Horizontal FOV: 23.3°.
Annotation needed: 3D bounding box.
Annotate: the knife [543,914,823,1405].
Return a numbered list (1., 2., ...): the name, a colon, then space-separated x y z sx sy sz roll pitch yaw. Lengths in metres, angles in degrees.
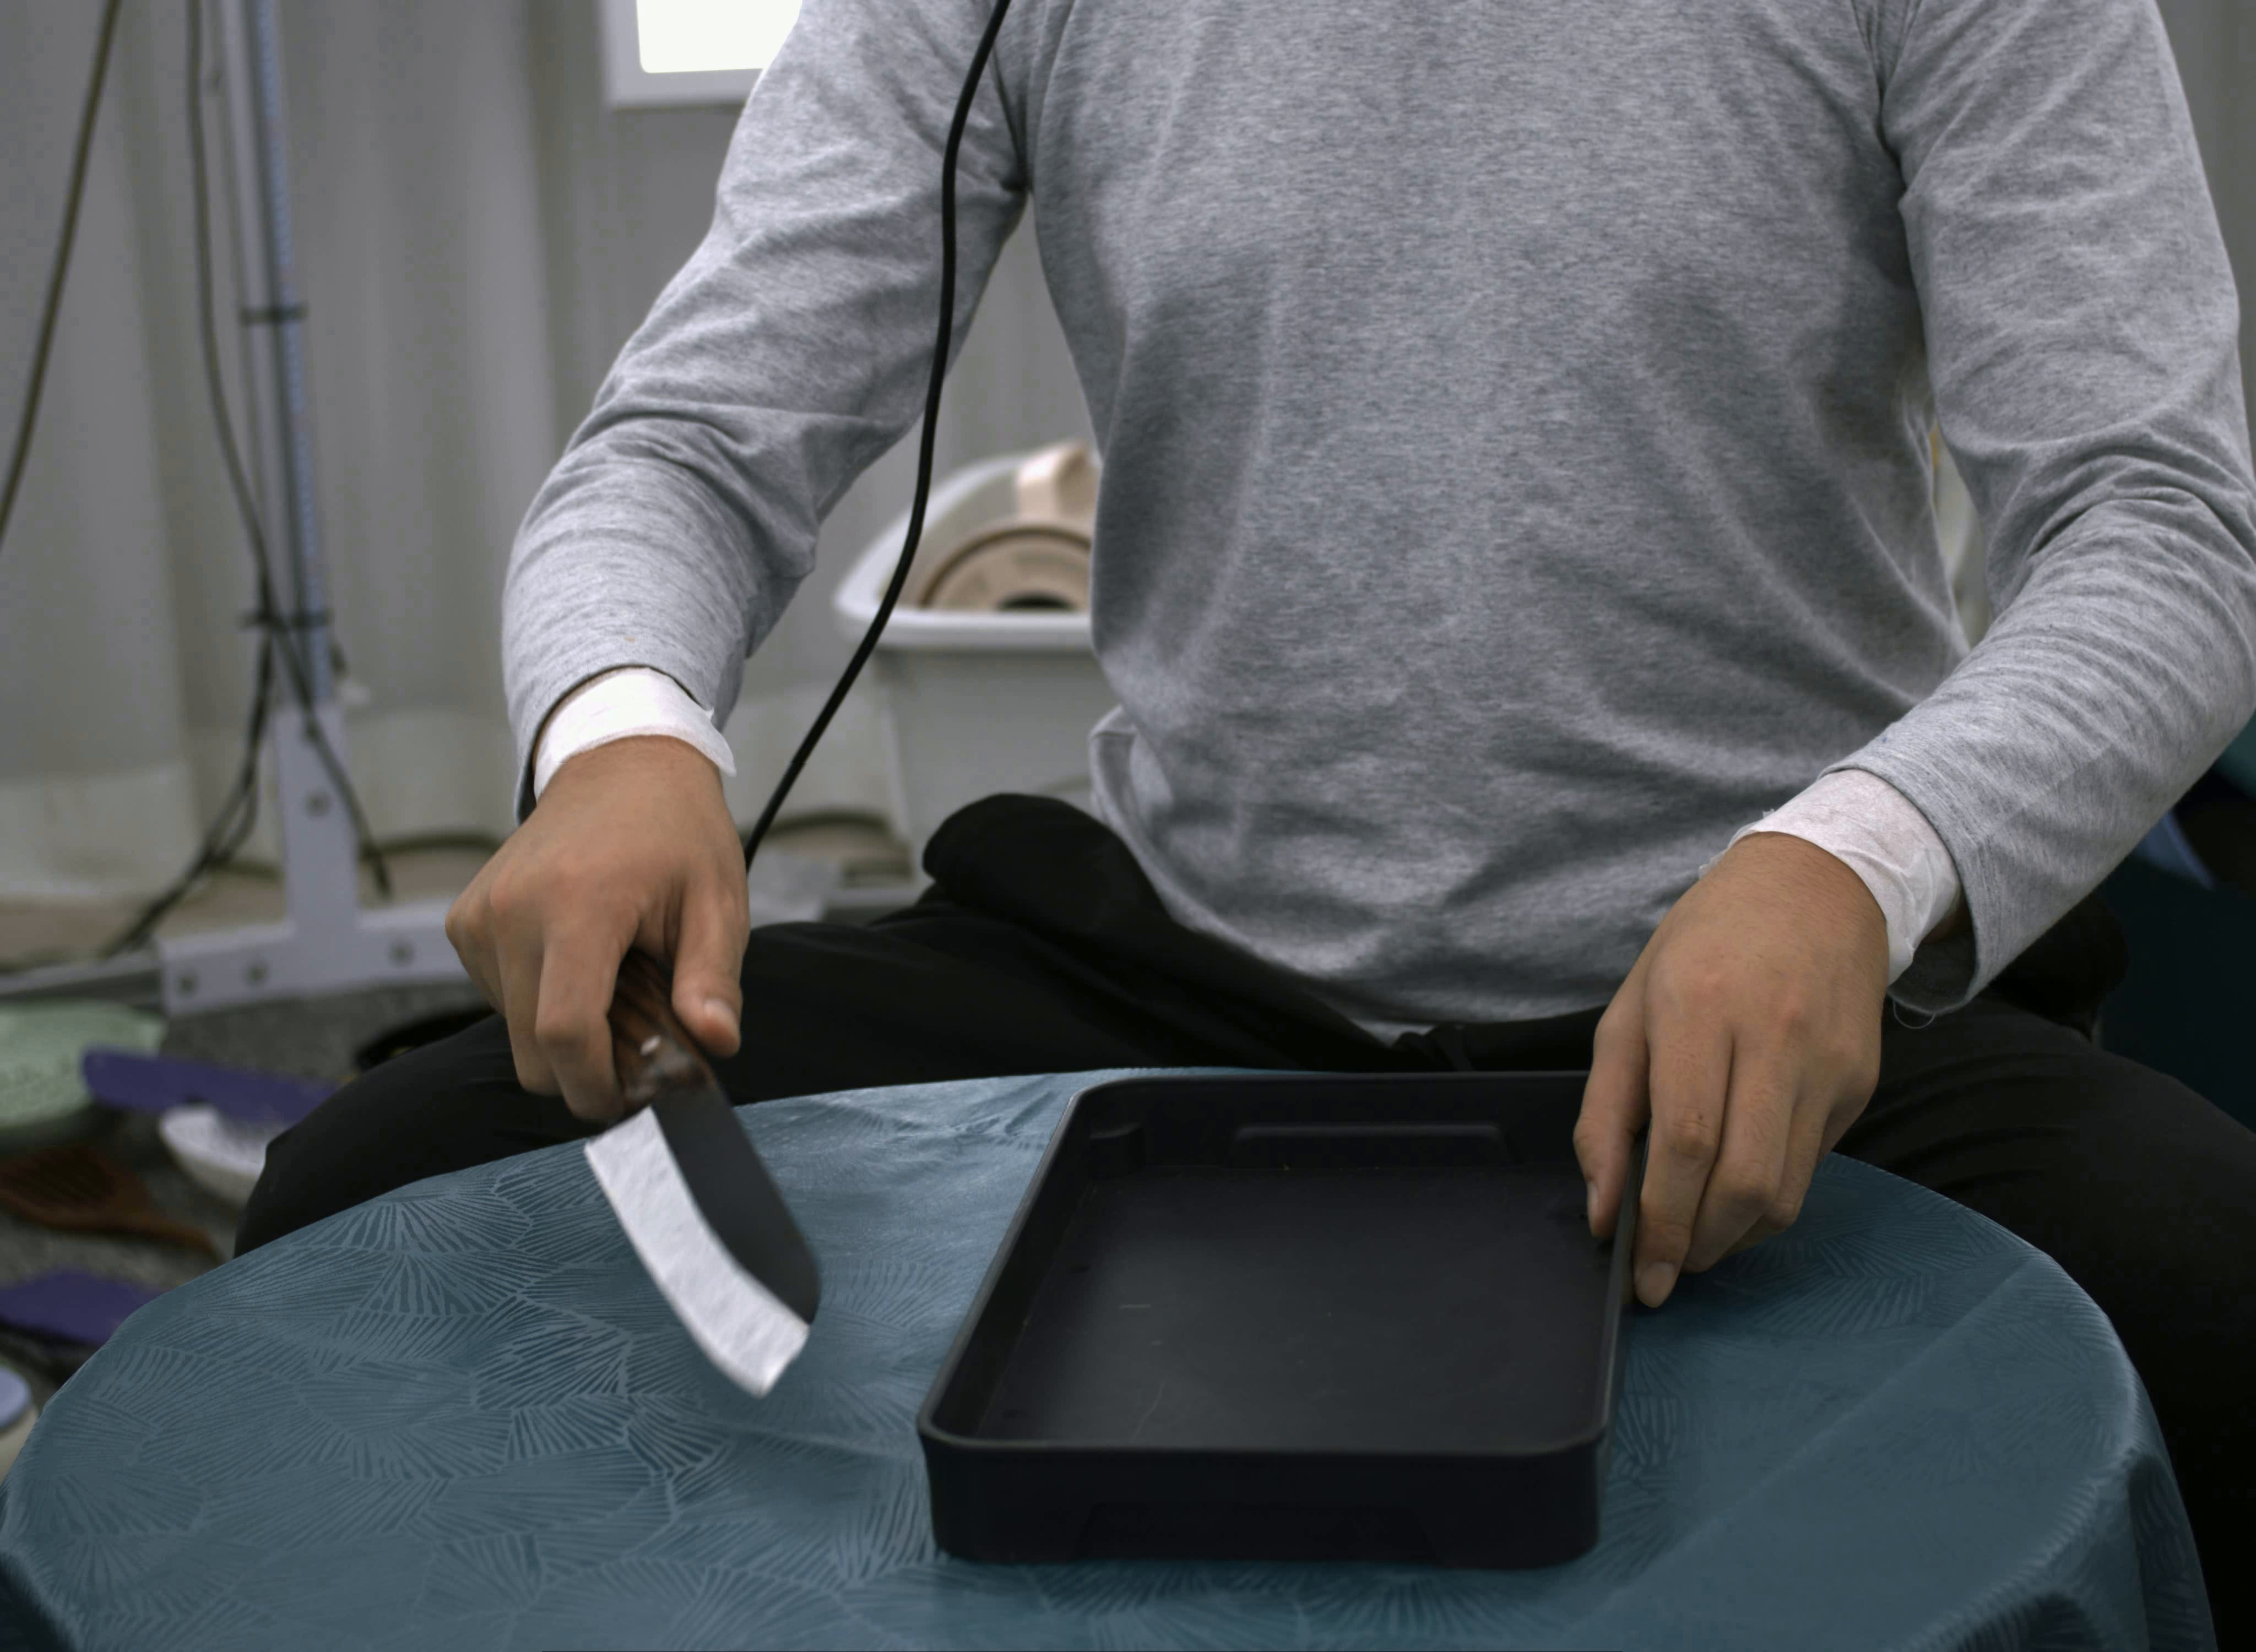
1. knife: -0.133 0.094 1.592 0.050 0.020 0.292 -30 29 -2

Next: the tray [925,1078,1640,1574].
1. tray: 0.052 0.137 1.556 0.184 0.037 0.320 -1 14 7
